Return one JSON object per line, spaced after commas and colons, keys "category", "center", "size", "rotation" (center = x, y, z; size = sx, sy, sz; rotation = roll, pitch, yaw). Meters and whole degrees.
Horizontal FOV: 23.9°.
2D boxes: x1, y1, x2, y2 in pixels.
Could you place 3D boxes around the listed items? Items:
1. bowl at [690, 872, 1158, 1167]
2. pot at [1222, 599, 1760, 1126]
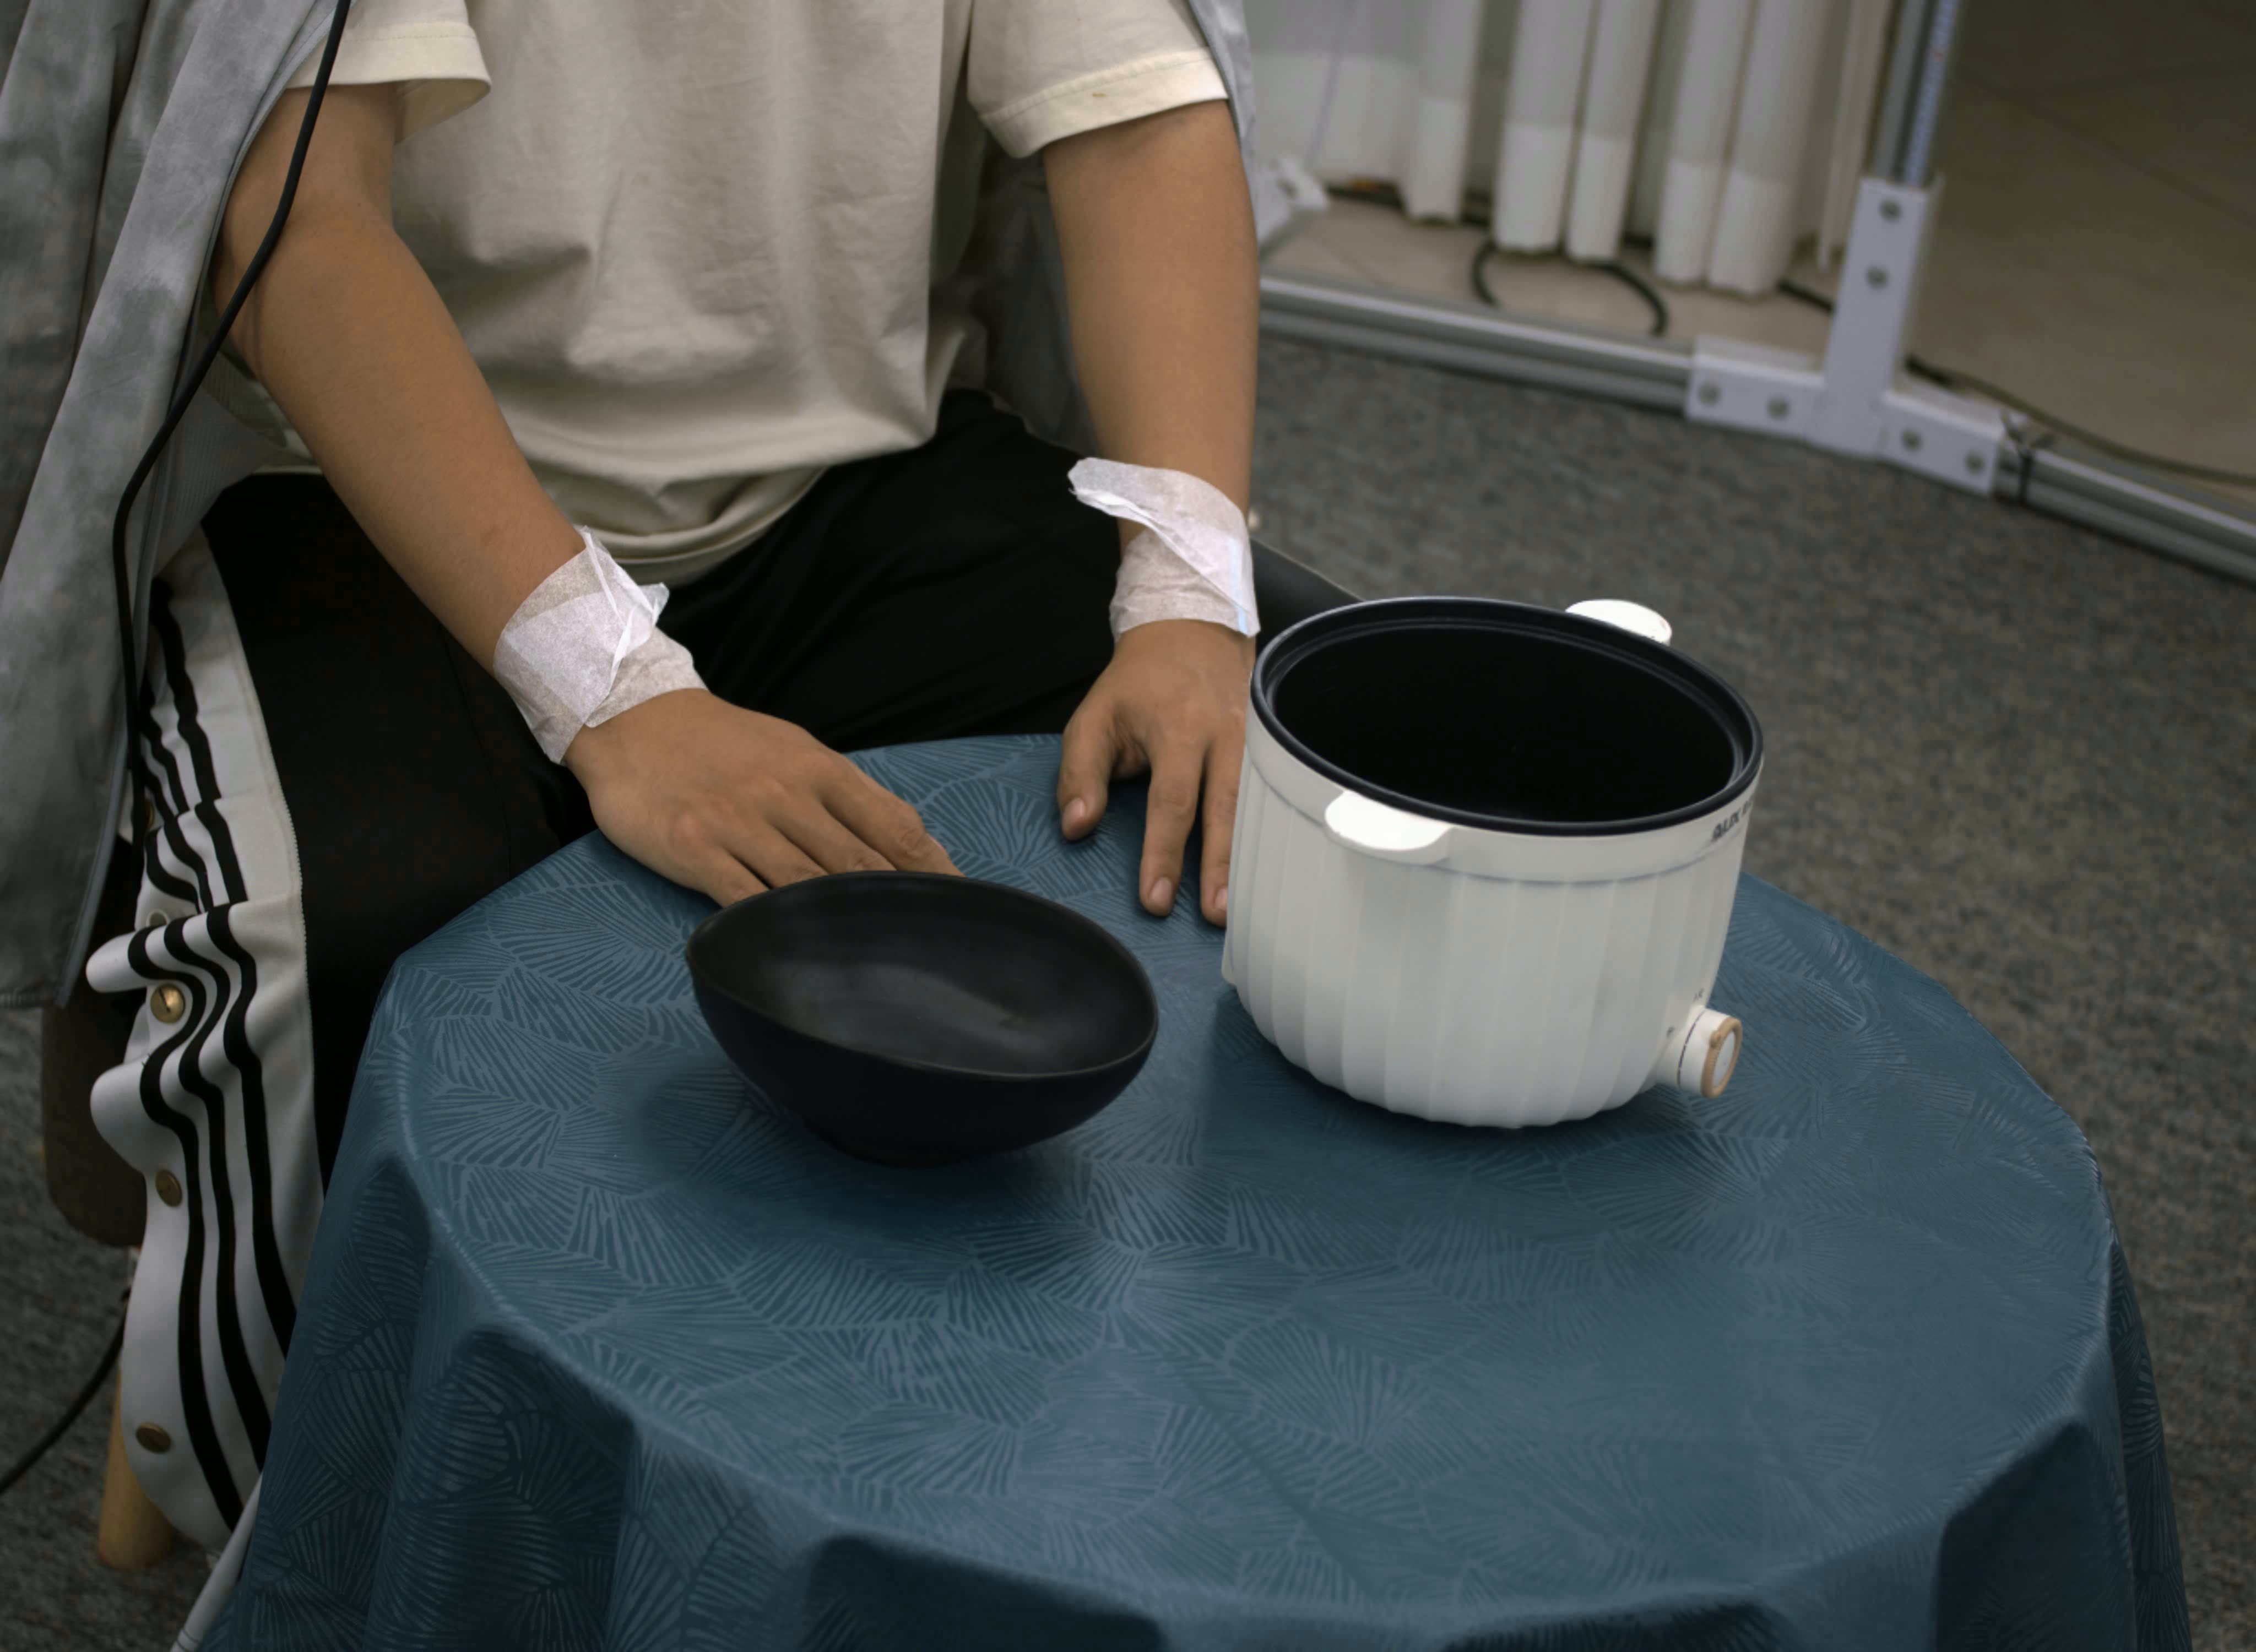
{"category": "bowl", "center": [-0.073, 0.074, 1.815], "size": [0.171, 0.066, 0.137], "rotation": [17, 27, 22]}
{"category": "pot", "center": [0.130, 0.018, 1.890], "size": [0.191, 0.142, 0.240], "rotation": [15, 28, 23]}
